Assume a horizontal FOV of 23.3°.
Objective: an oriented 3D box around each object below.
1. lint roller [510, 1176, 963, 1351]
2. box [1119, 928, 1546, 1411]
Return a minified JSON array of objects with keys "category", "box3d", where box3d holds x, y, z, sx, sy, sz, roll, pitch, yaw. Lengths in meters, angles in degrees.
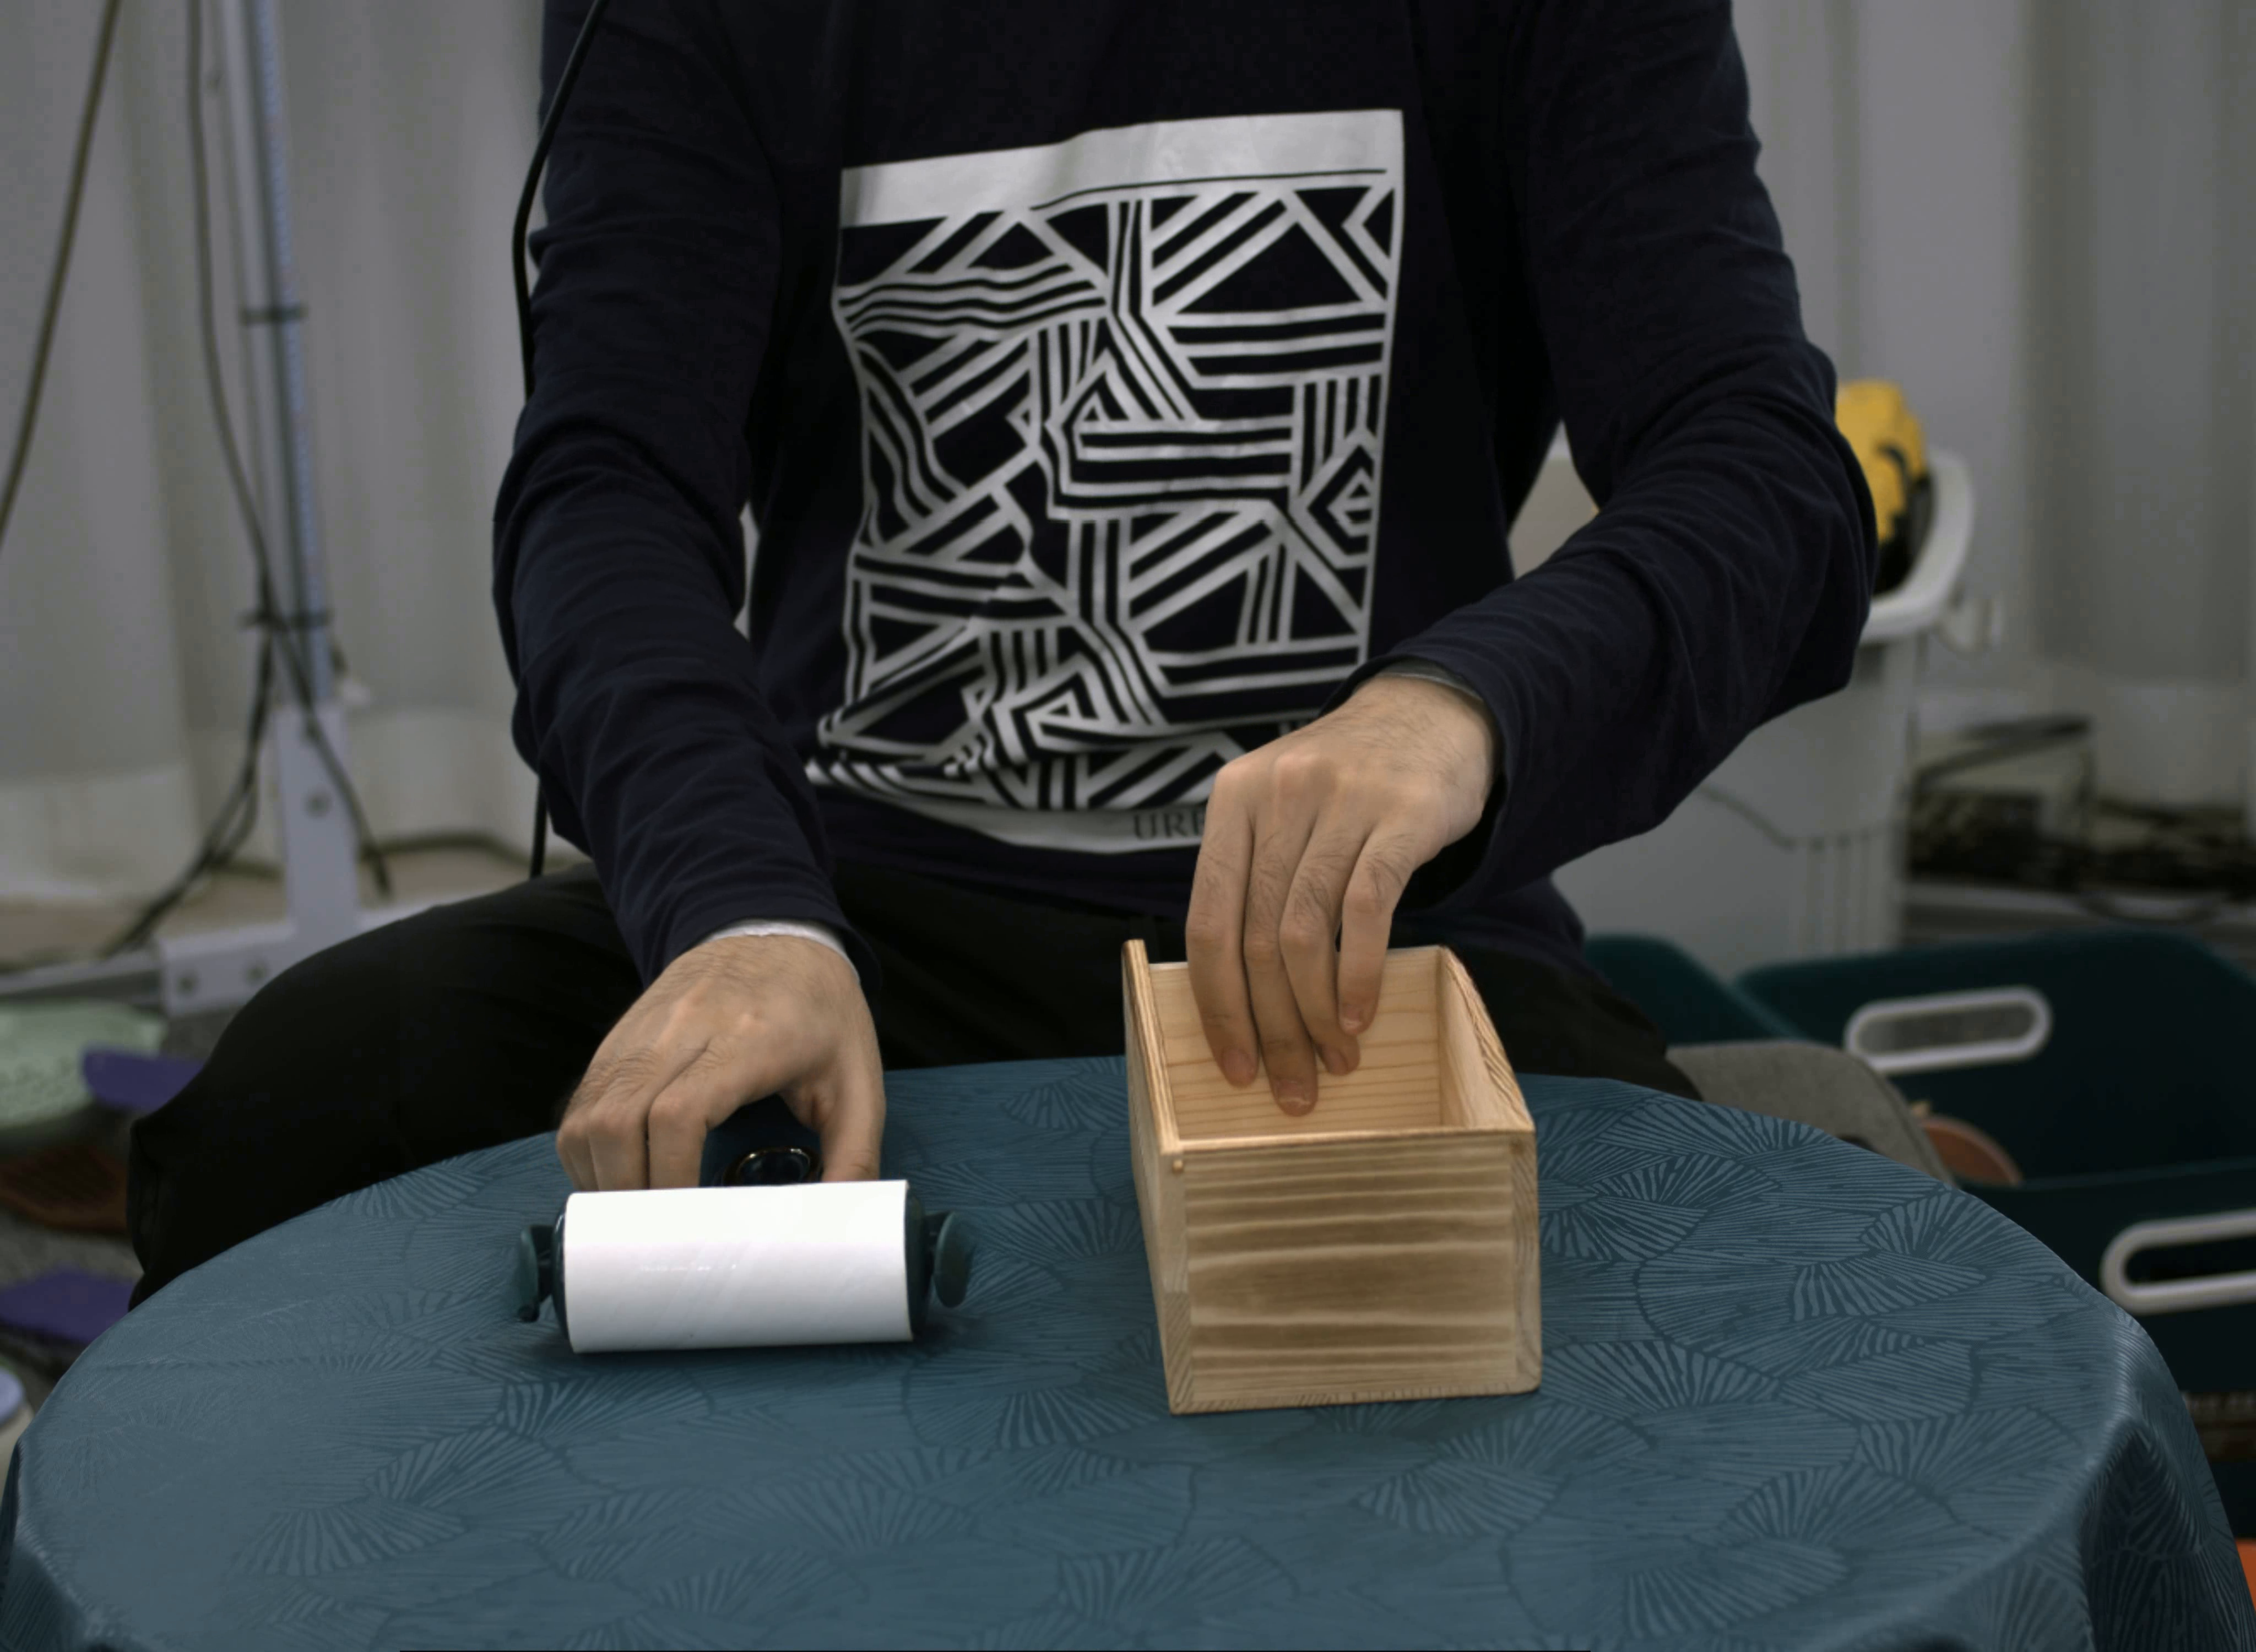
[{"category":"lint roller","box3d":[-0.113,0.116,1.660,0.134,0.048,0.181,-3,10,1]},{"category":"box","box3d":[0.057,0.098,1.617,0.107,0.080,0.213,-4,13,-2]}]
